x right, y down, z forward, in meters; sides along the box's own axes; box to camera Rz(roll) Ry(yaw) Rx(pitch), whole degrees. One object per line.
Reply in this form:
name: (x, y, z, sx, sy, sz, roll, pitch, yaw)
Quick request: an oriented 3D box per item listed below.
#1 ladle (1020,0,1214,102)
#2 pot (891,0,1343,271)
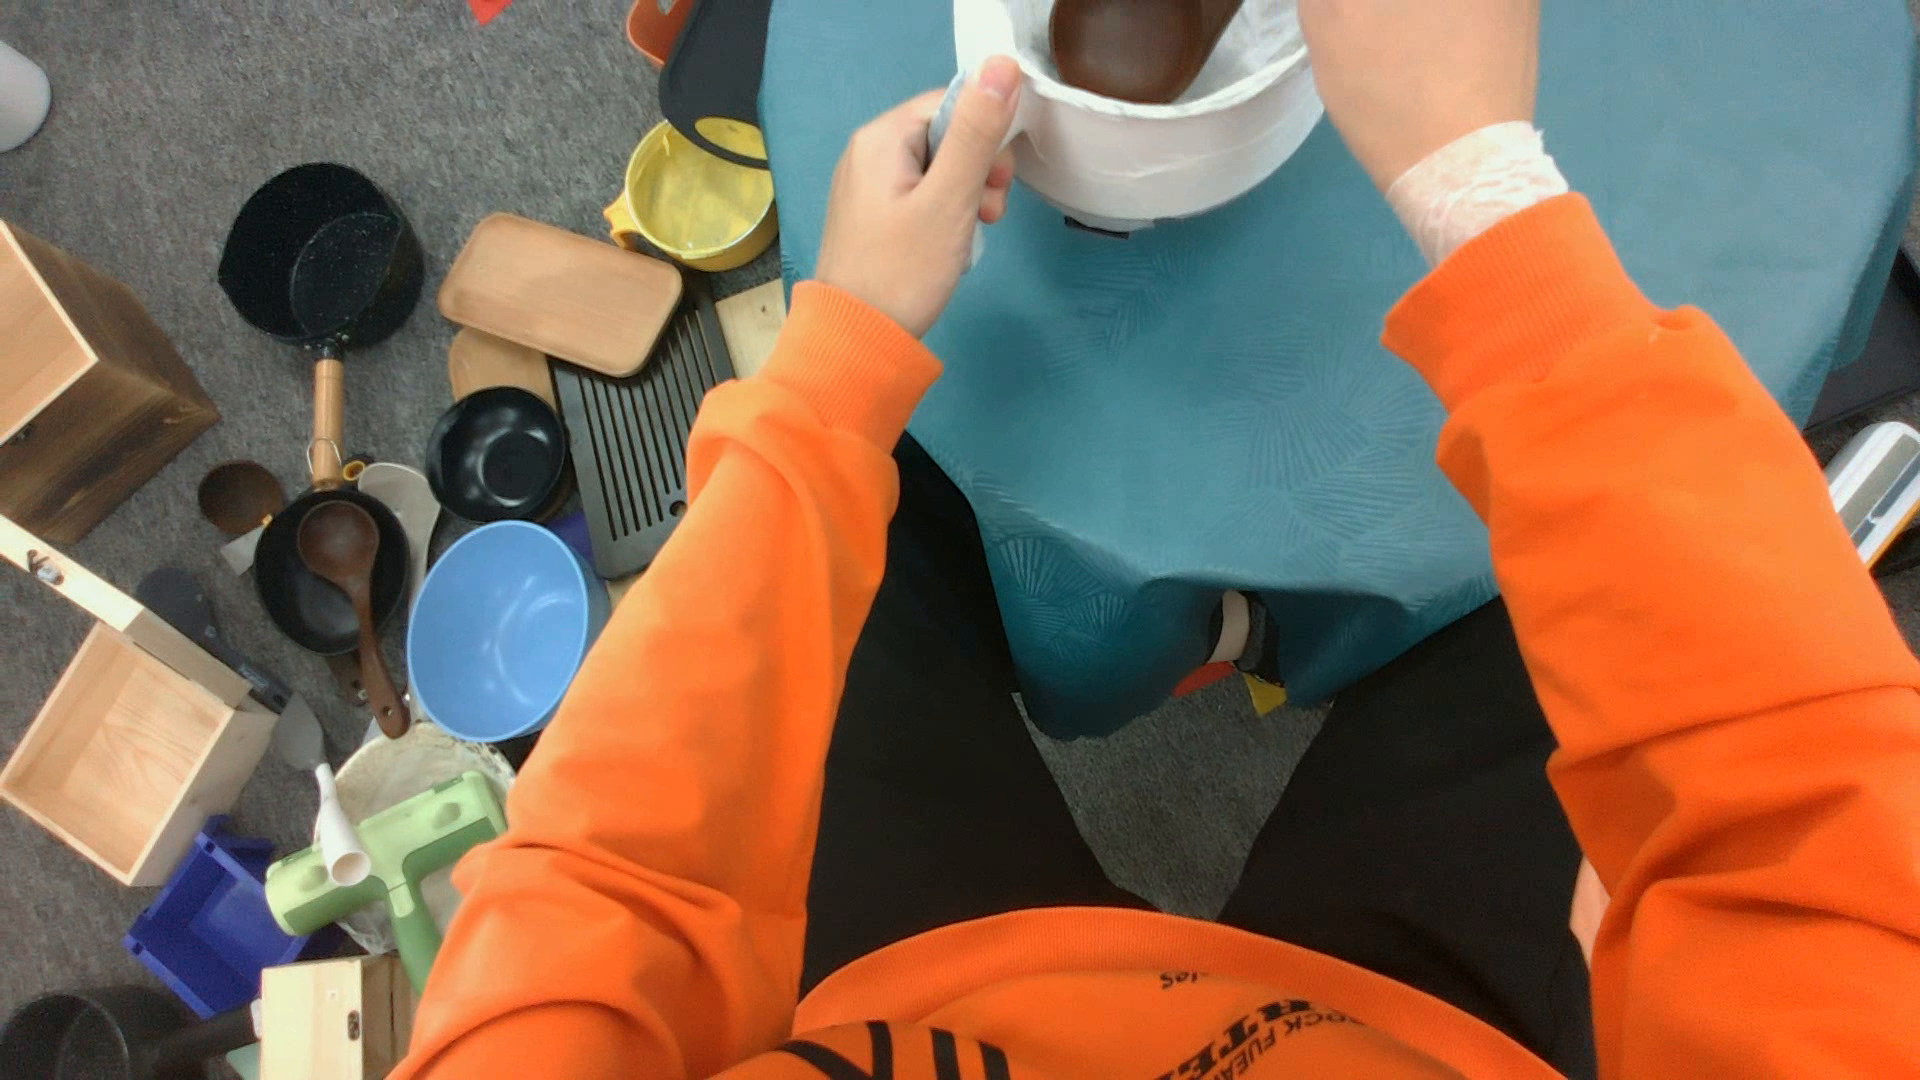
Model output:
ladle: (0.098, -0.232, 0.516, 0.065, 0.259, 0.076, -21, 94, -19)
pot: (0.058, -0.222, 0.615, 0.179, 0.136, 0.234, 43, 85, 9)
